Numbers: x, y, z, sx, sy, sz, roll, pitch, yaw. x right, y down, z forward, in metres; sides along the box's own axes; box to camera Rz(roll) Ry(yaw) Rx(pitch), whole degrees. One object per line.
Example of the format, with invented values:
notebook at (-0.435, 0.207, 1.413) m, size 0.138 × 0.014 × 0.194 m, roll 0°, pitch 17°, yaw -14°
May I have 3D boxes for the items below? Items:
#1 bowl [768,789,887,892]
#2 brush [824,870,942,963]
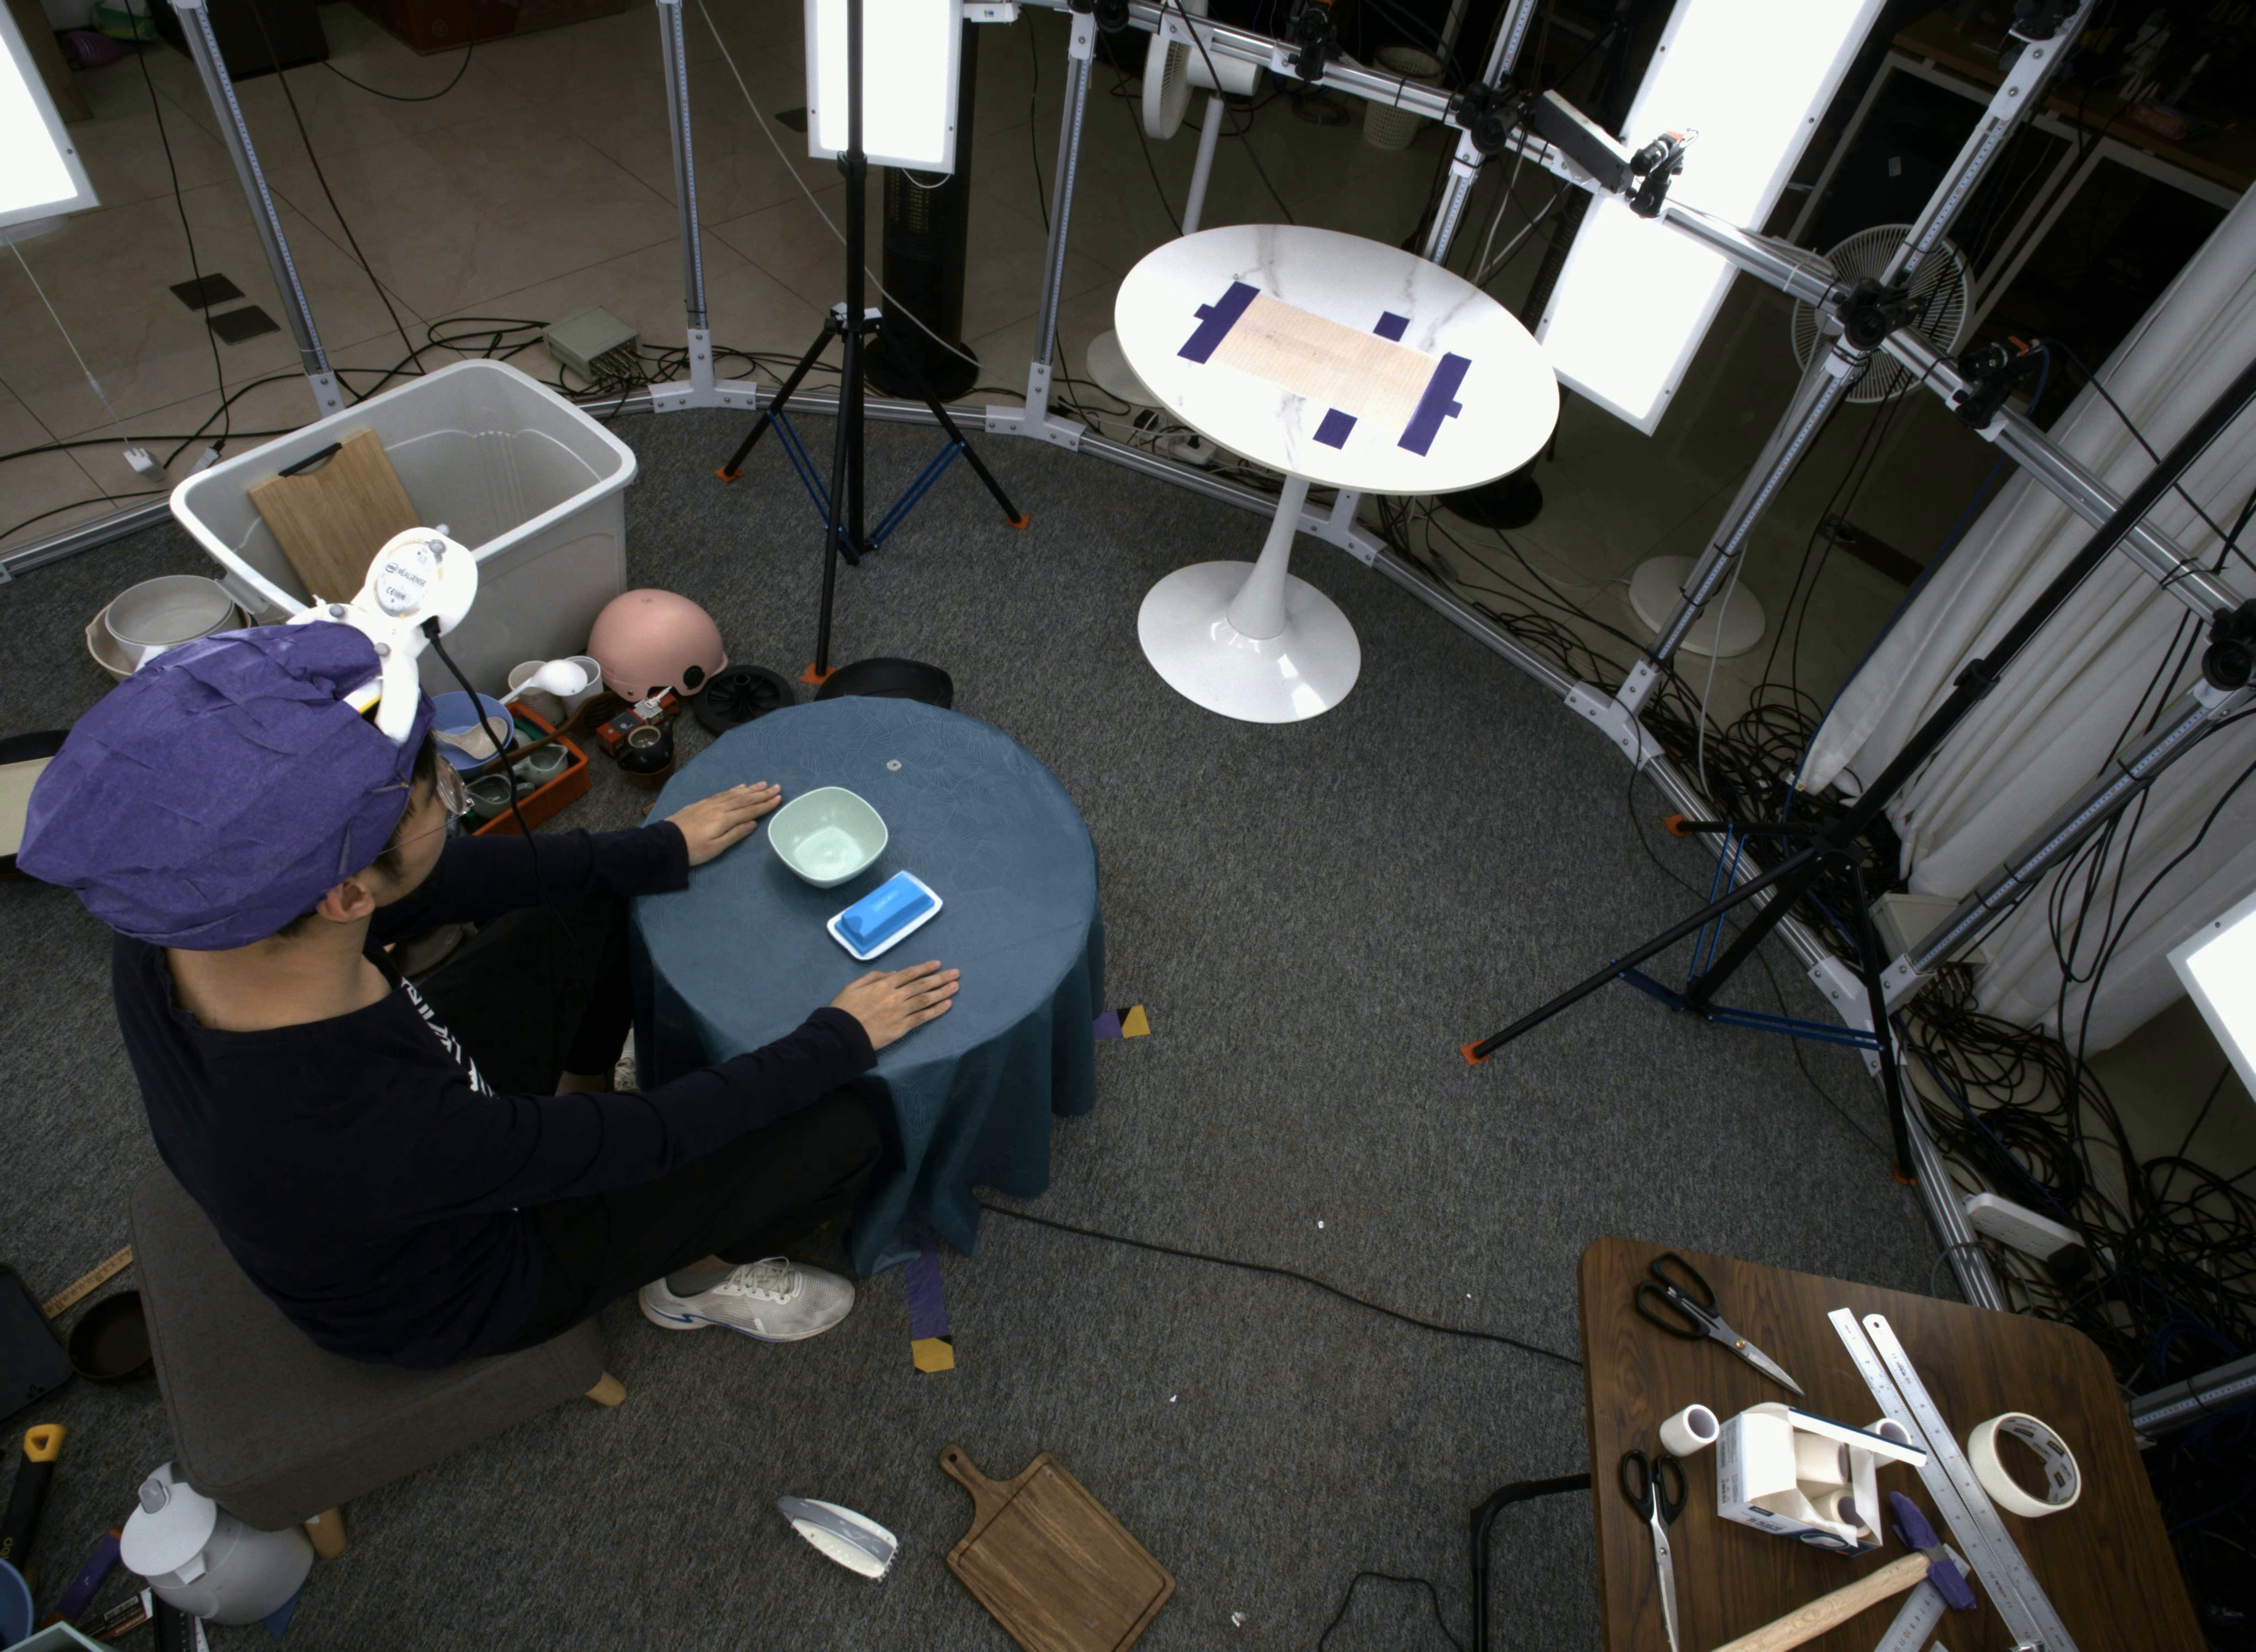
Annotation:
bowl at (-0.387, 0.027, 1.679) m, size 0.151 × 0.060 × 0.148 m, roll 6°, pitch 51°, yaw -6°
brush at (-0.308, 0.104, 1.637) m, size 0.081 × 0.057 × 0.144 m, roll 40°, pitch 53°, yaw 22°
